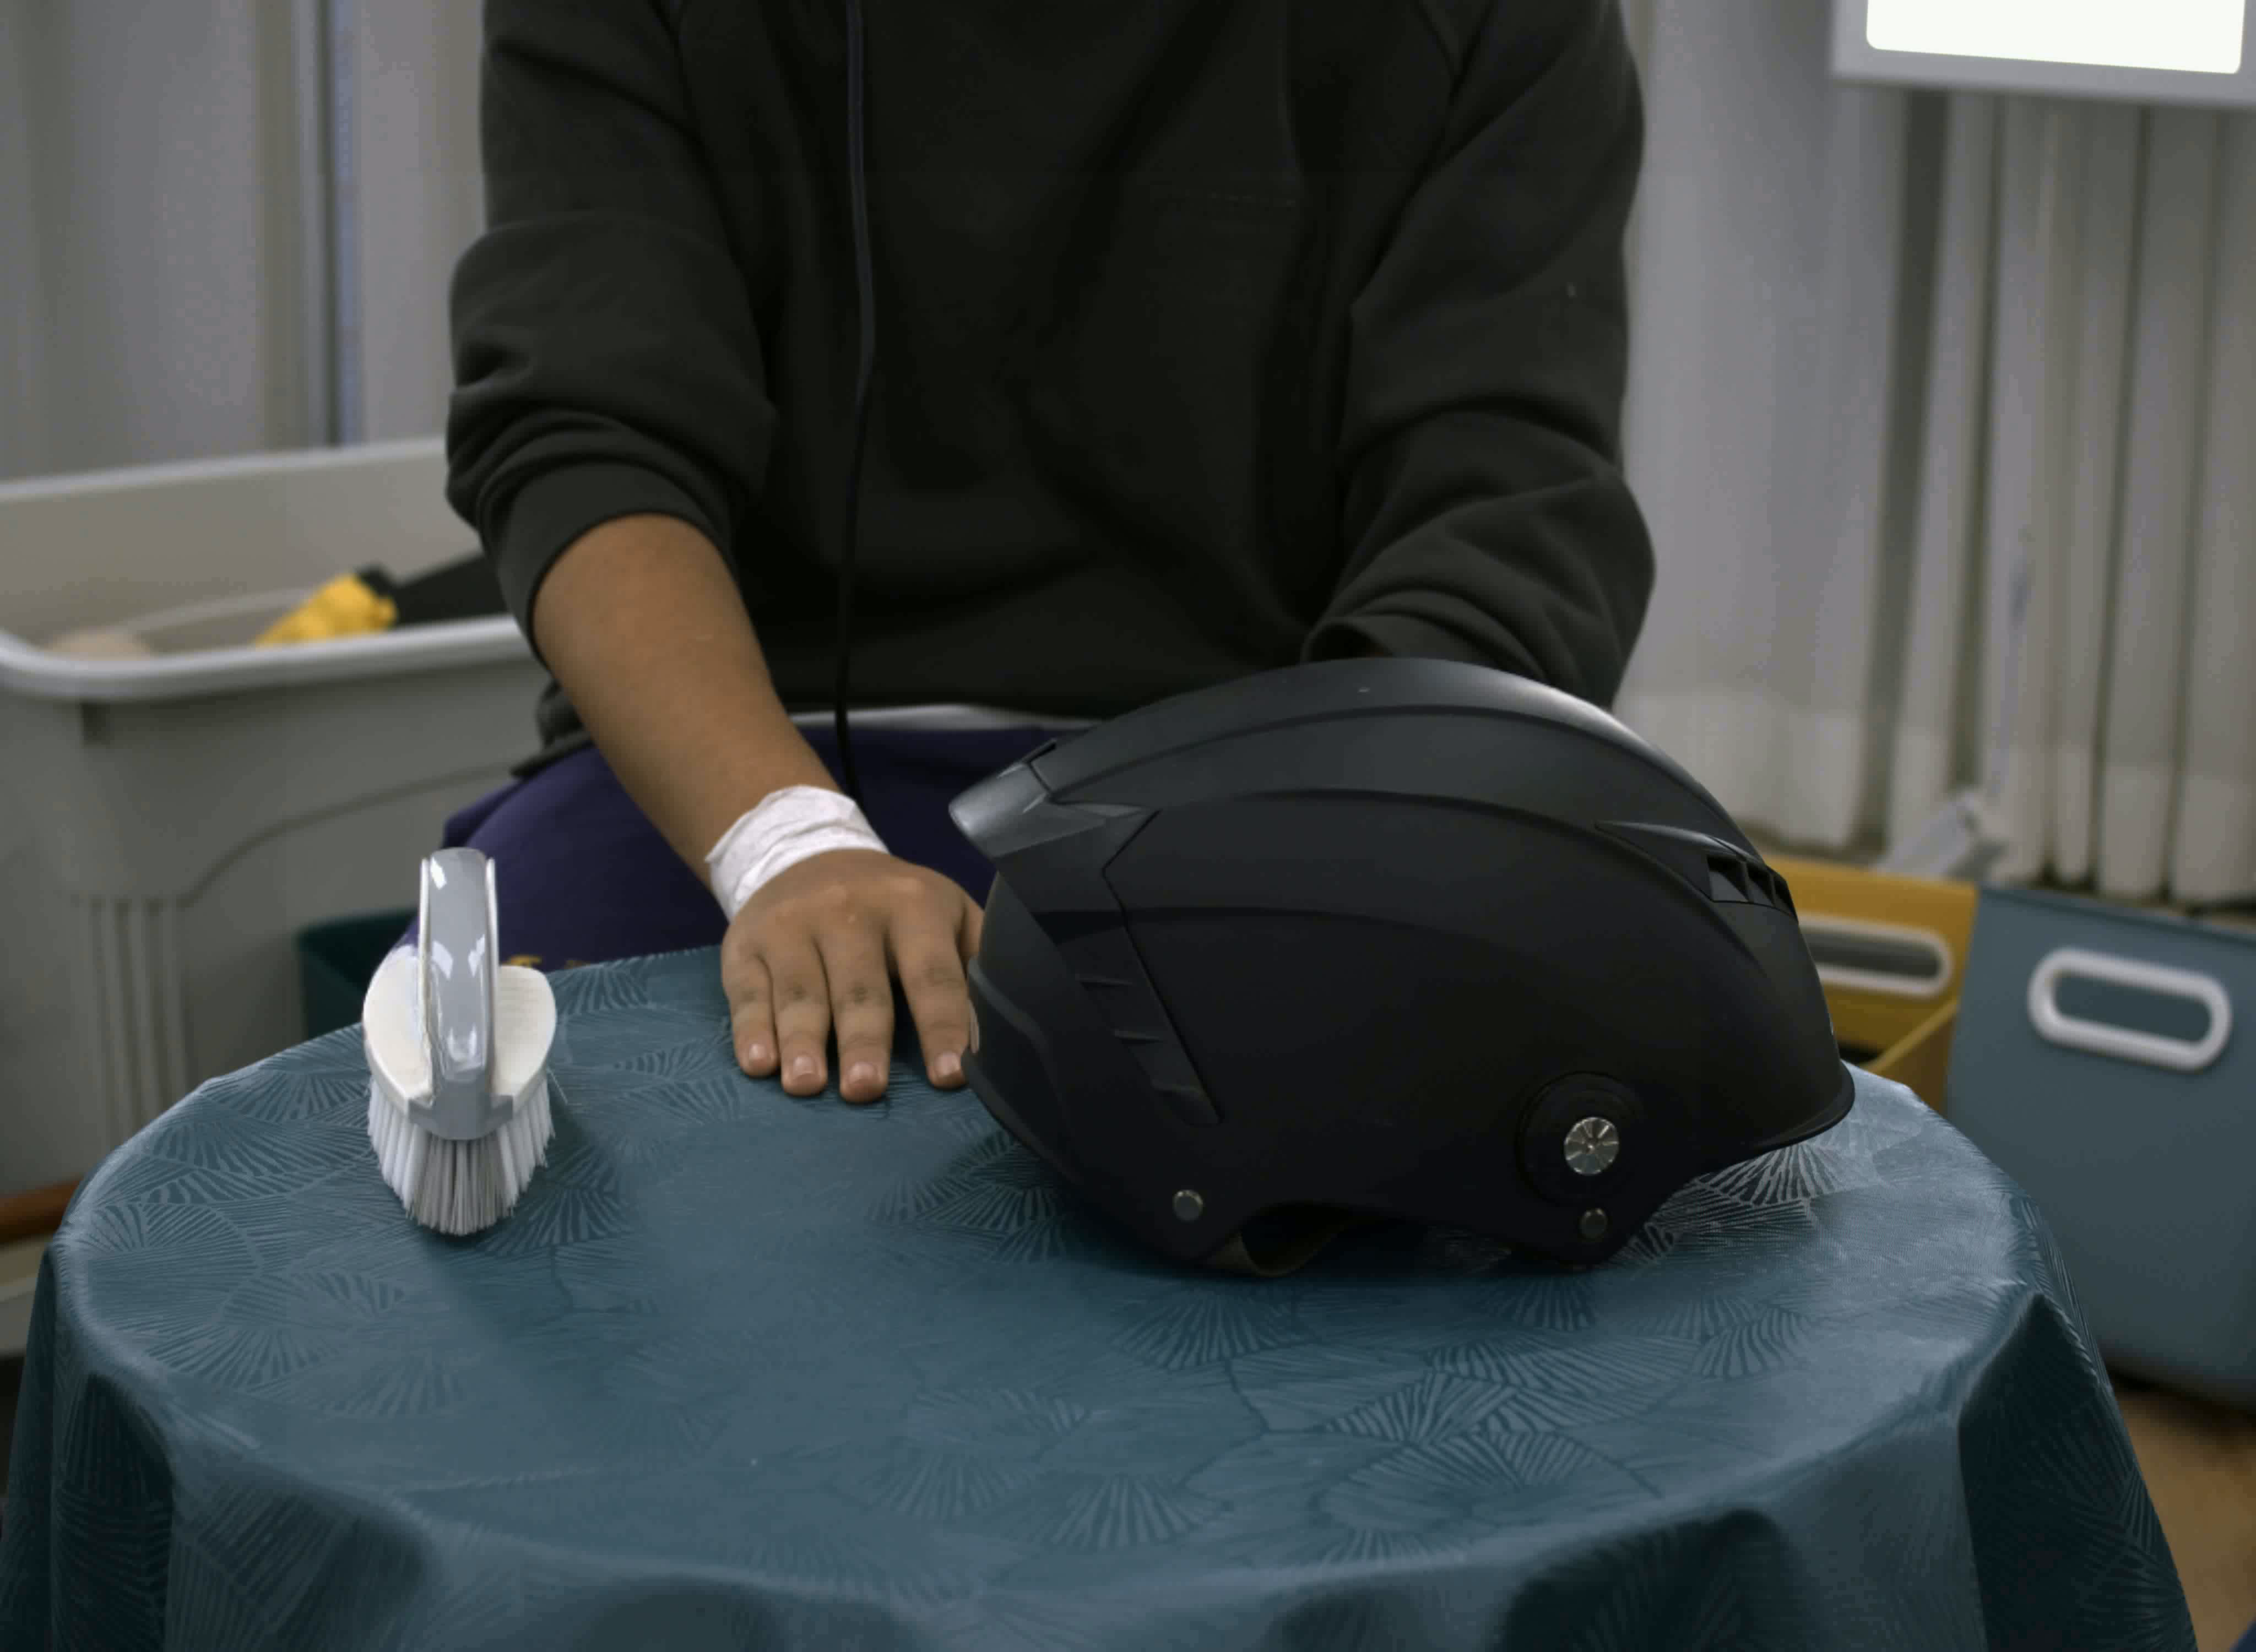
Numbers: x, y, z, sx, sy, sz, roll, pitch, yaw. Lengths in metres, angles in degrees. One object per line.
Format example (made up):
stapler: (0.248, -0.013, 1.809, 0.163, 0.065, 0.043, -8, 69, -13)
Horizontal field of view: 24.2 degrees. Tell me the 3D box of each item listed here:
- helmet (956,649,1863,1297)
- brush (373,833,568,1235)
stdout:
helmet: (0.083, 0.031, 1.621, 0.276, 0.174, 0.244, -6, 17, -9)
brush: (-0.206, 0.059, 1.639, 0.061, 0.095, 0.174, -3, 18, -5)
